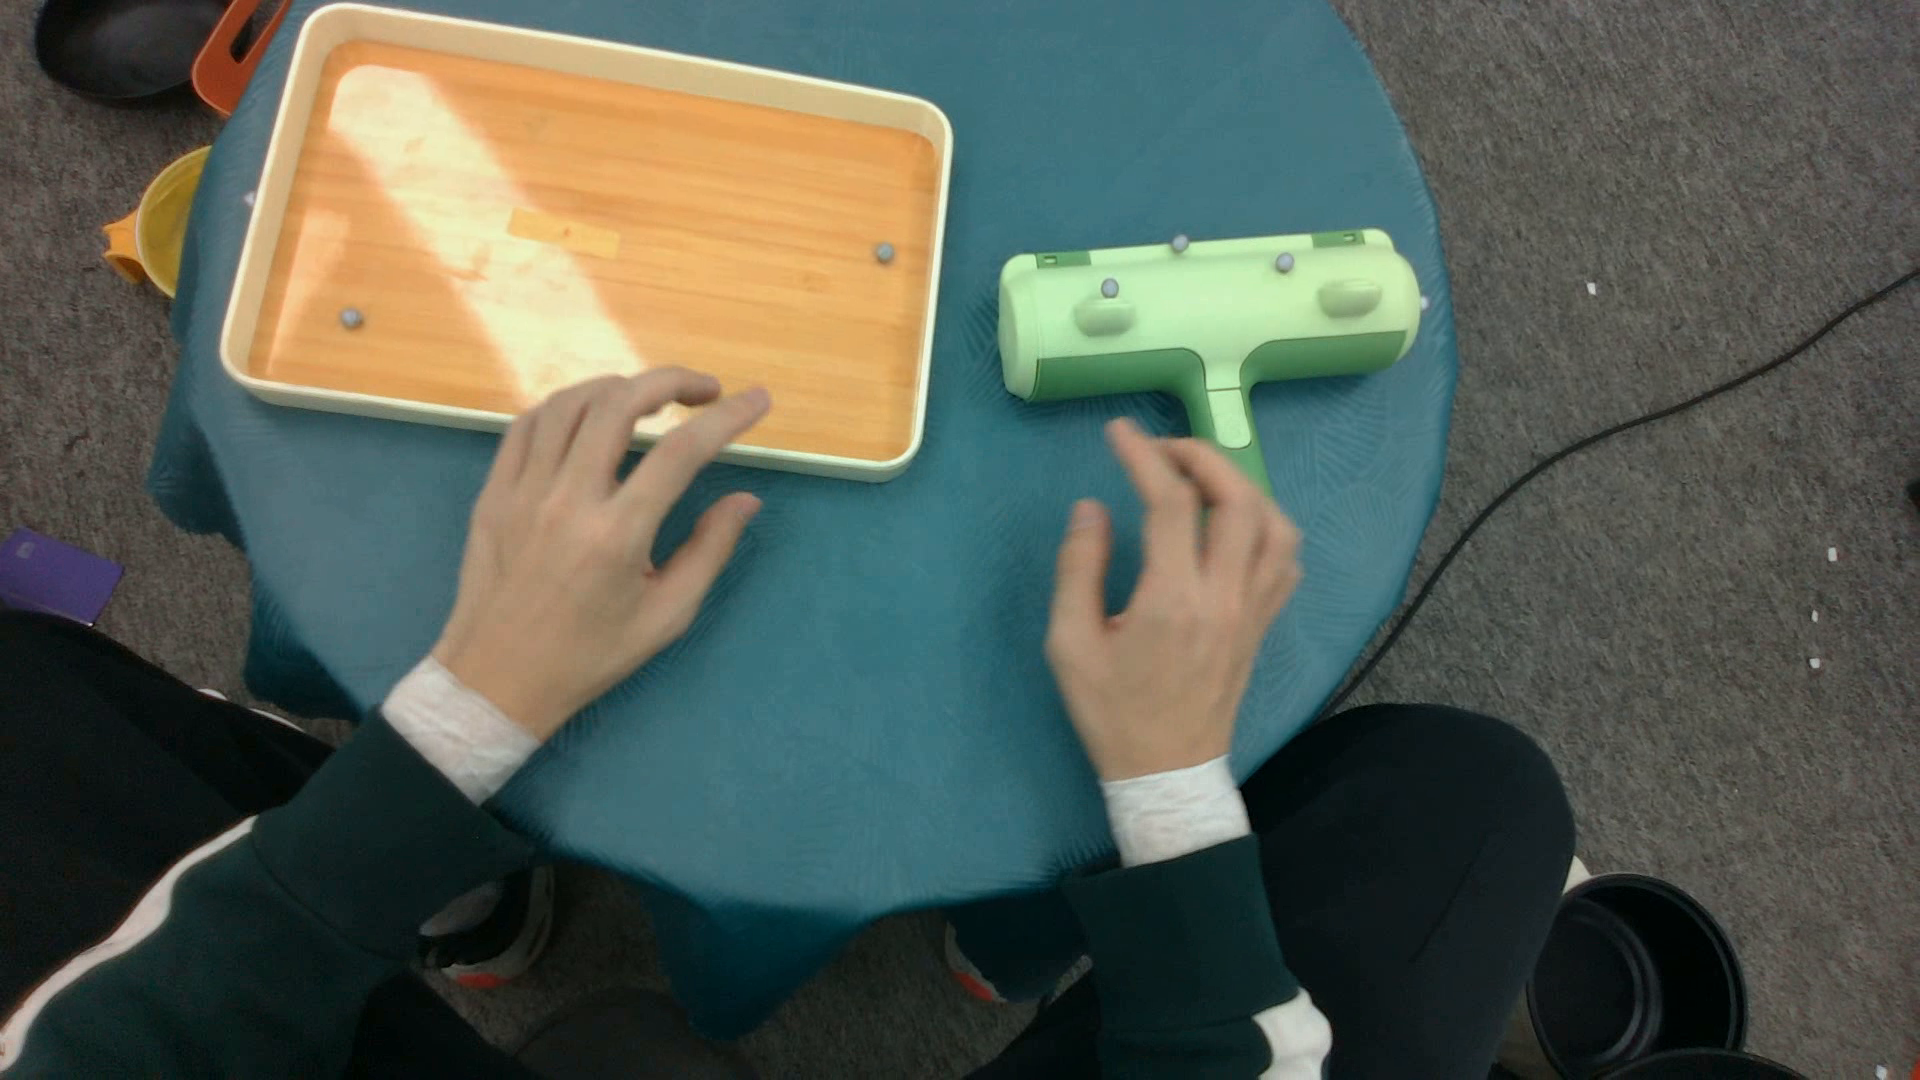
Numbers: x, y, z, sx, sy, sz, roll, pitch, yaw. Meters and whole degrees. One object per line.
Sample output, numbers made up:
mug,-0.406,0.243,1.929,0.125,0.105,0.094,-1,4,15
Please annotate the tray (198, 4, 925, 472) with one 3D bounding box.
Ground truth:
tray,-0.170,-0.137,0.631,0.300,0.027,0.192,6,75,-8

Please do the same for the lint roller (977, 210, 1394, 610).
lint roller,0.117,-0.064,0.632,0.199,0.082,0.184,-7,73,-11
